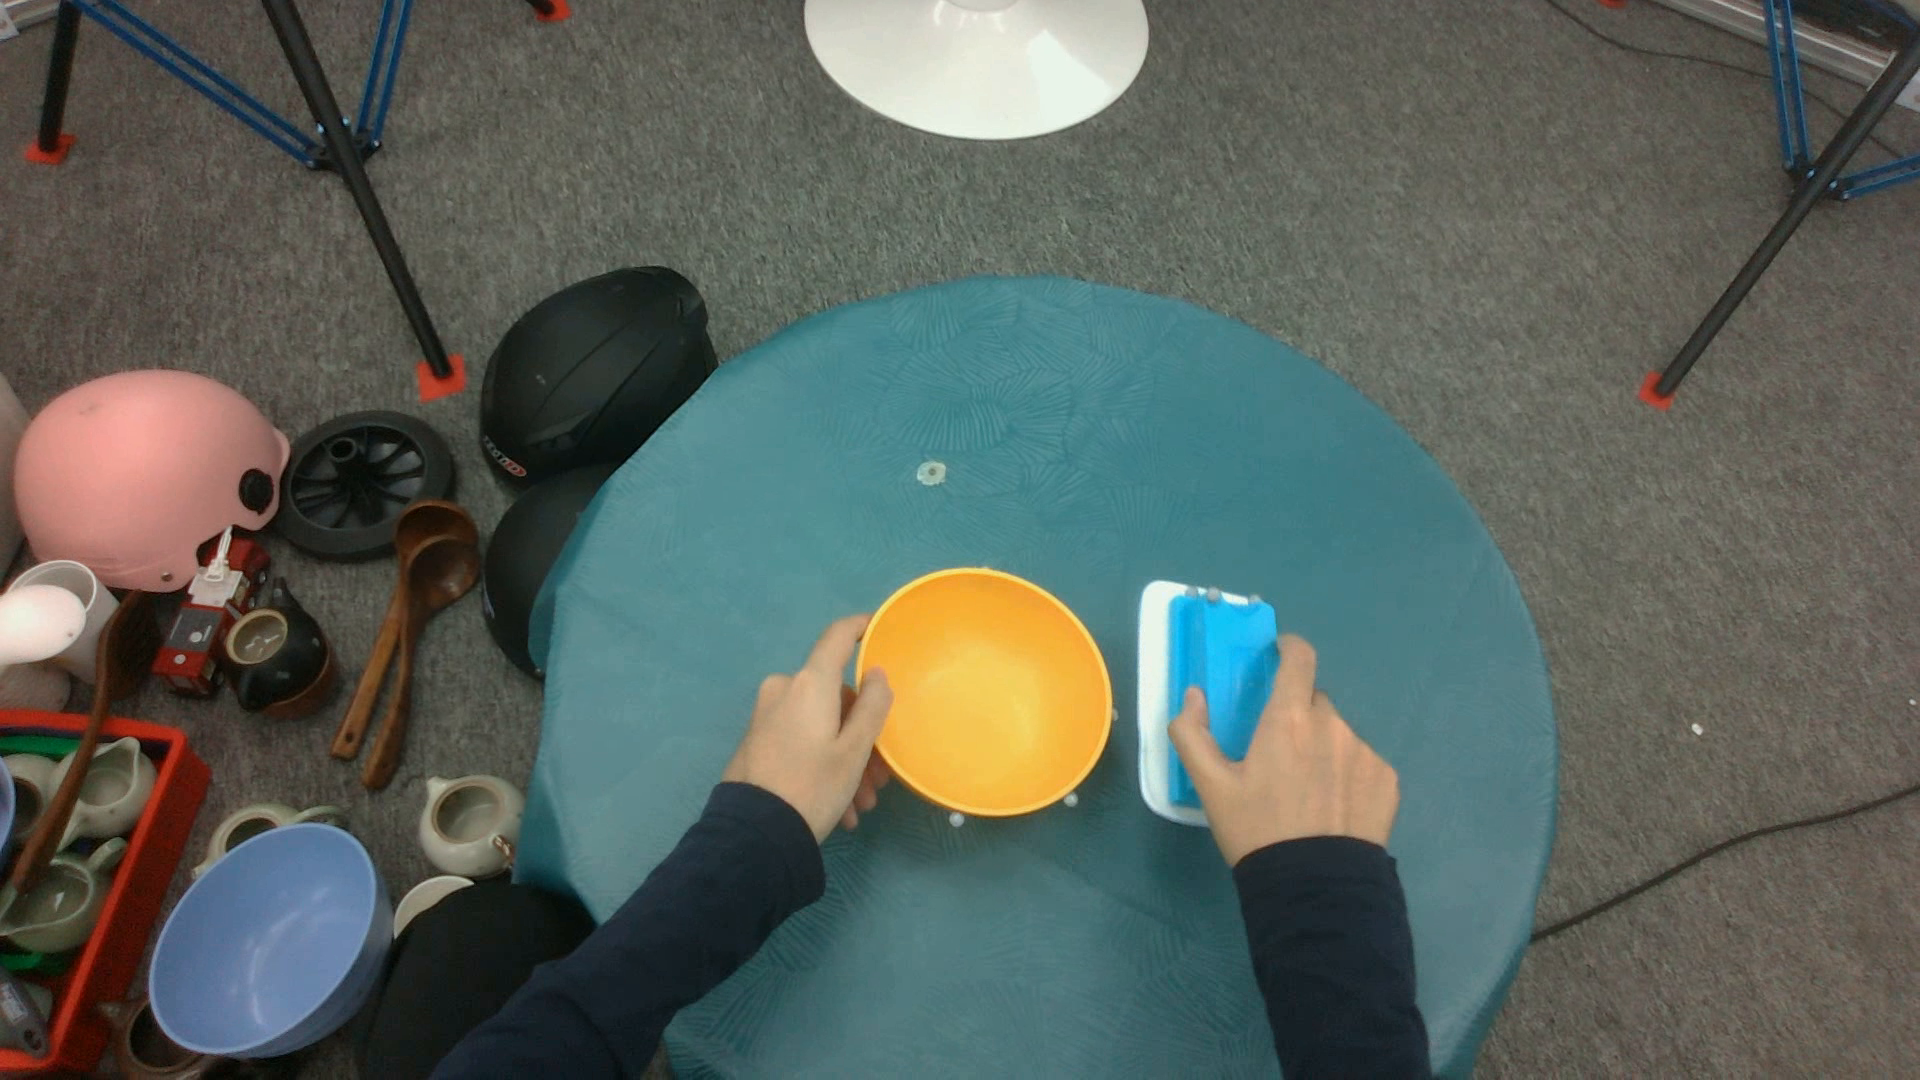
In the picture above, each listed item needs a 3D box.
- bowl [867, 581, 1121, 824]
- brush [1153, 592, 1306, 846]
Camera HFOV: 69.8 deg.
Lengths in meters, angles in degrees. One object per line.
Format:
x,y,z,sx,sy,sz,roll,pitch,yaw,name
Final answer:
0.014,0.099,0.776,0.145,0.060,0.146,7,56,-10,bowl
0.150,0.089,0.744,0.084,0.055,0.144,10,59,-9,brush
